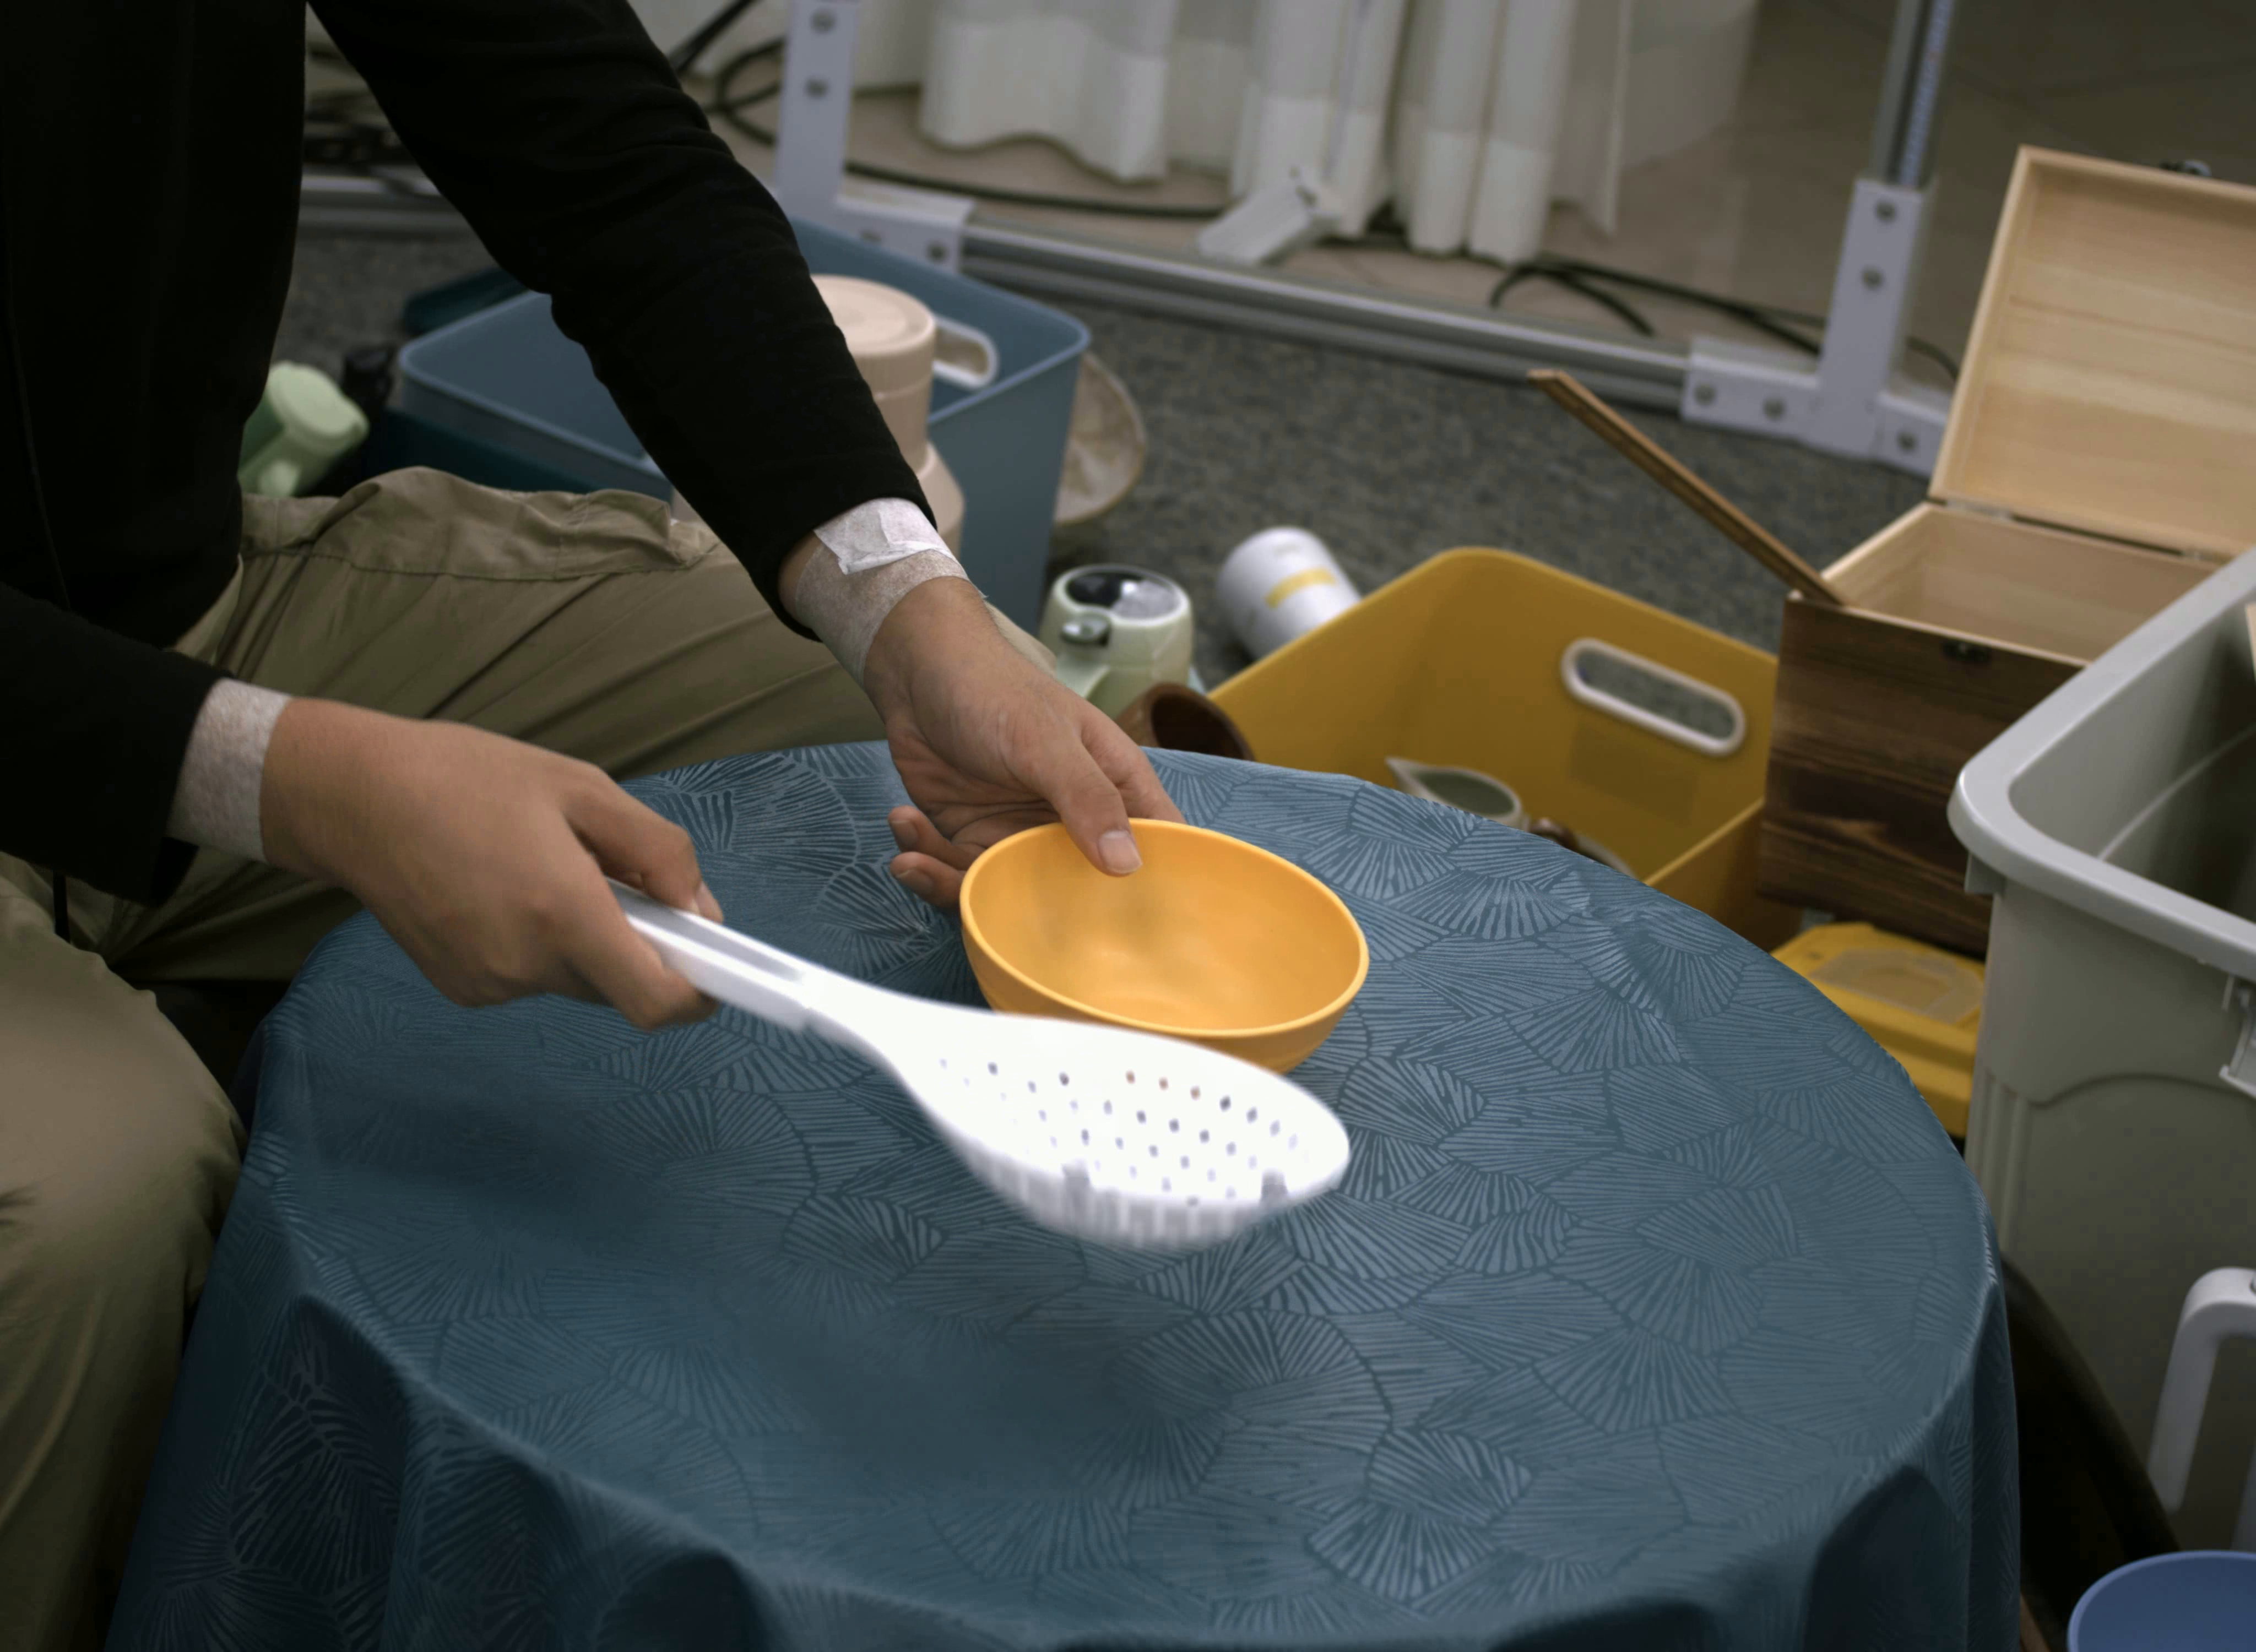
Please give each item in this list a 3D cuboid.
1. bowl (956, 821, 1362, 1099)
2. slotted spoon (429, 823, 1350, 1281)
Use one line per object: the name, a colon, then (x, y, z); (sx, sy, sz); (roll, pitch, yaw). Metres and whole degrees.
bowl: (0.006, 0.059, 1.864); (0.145, 0.060, 0.146); (9, 28, -5)
slotted spoon: (-0.087, 0.067, 1.712); (0.352, 0.045, 0.135); (27, 27, 26)
